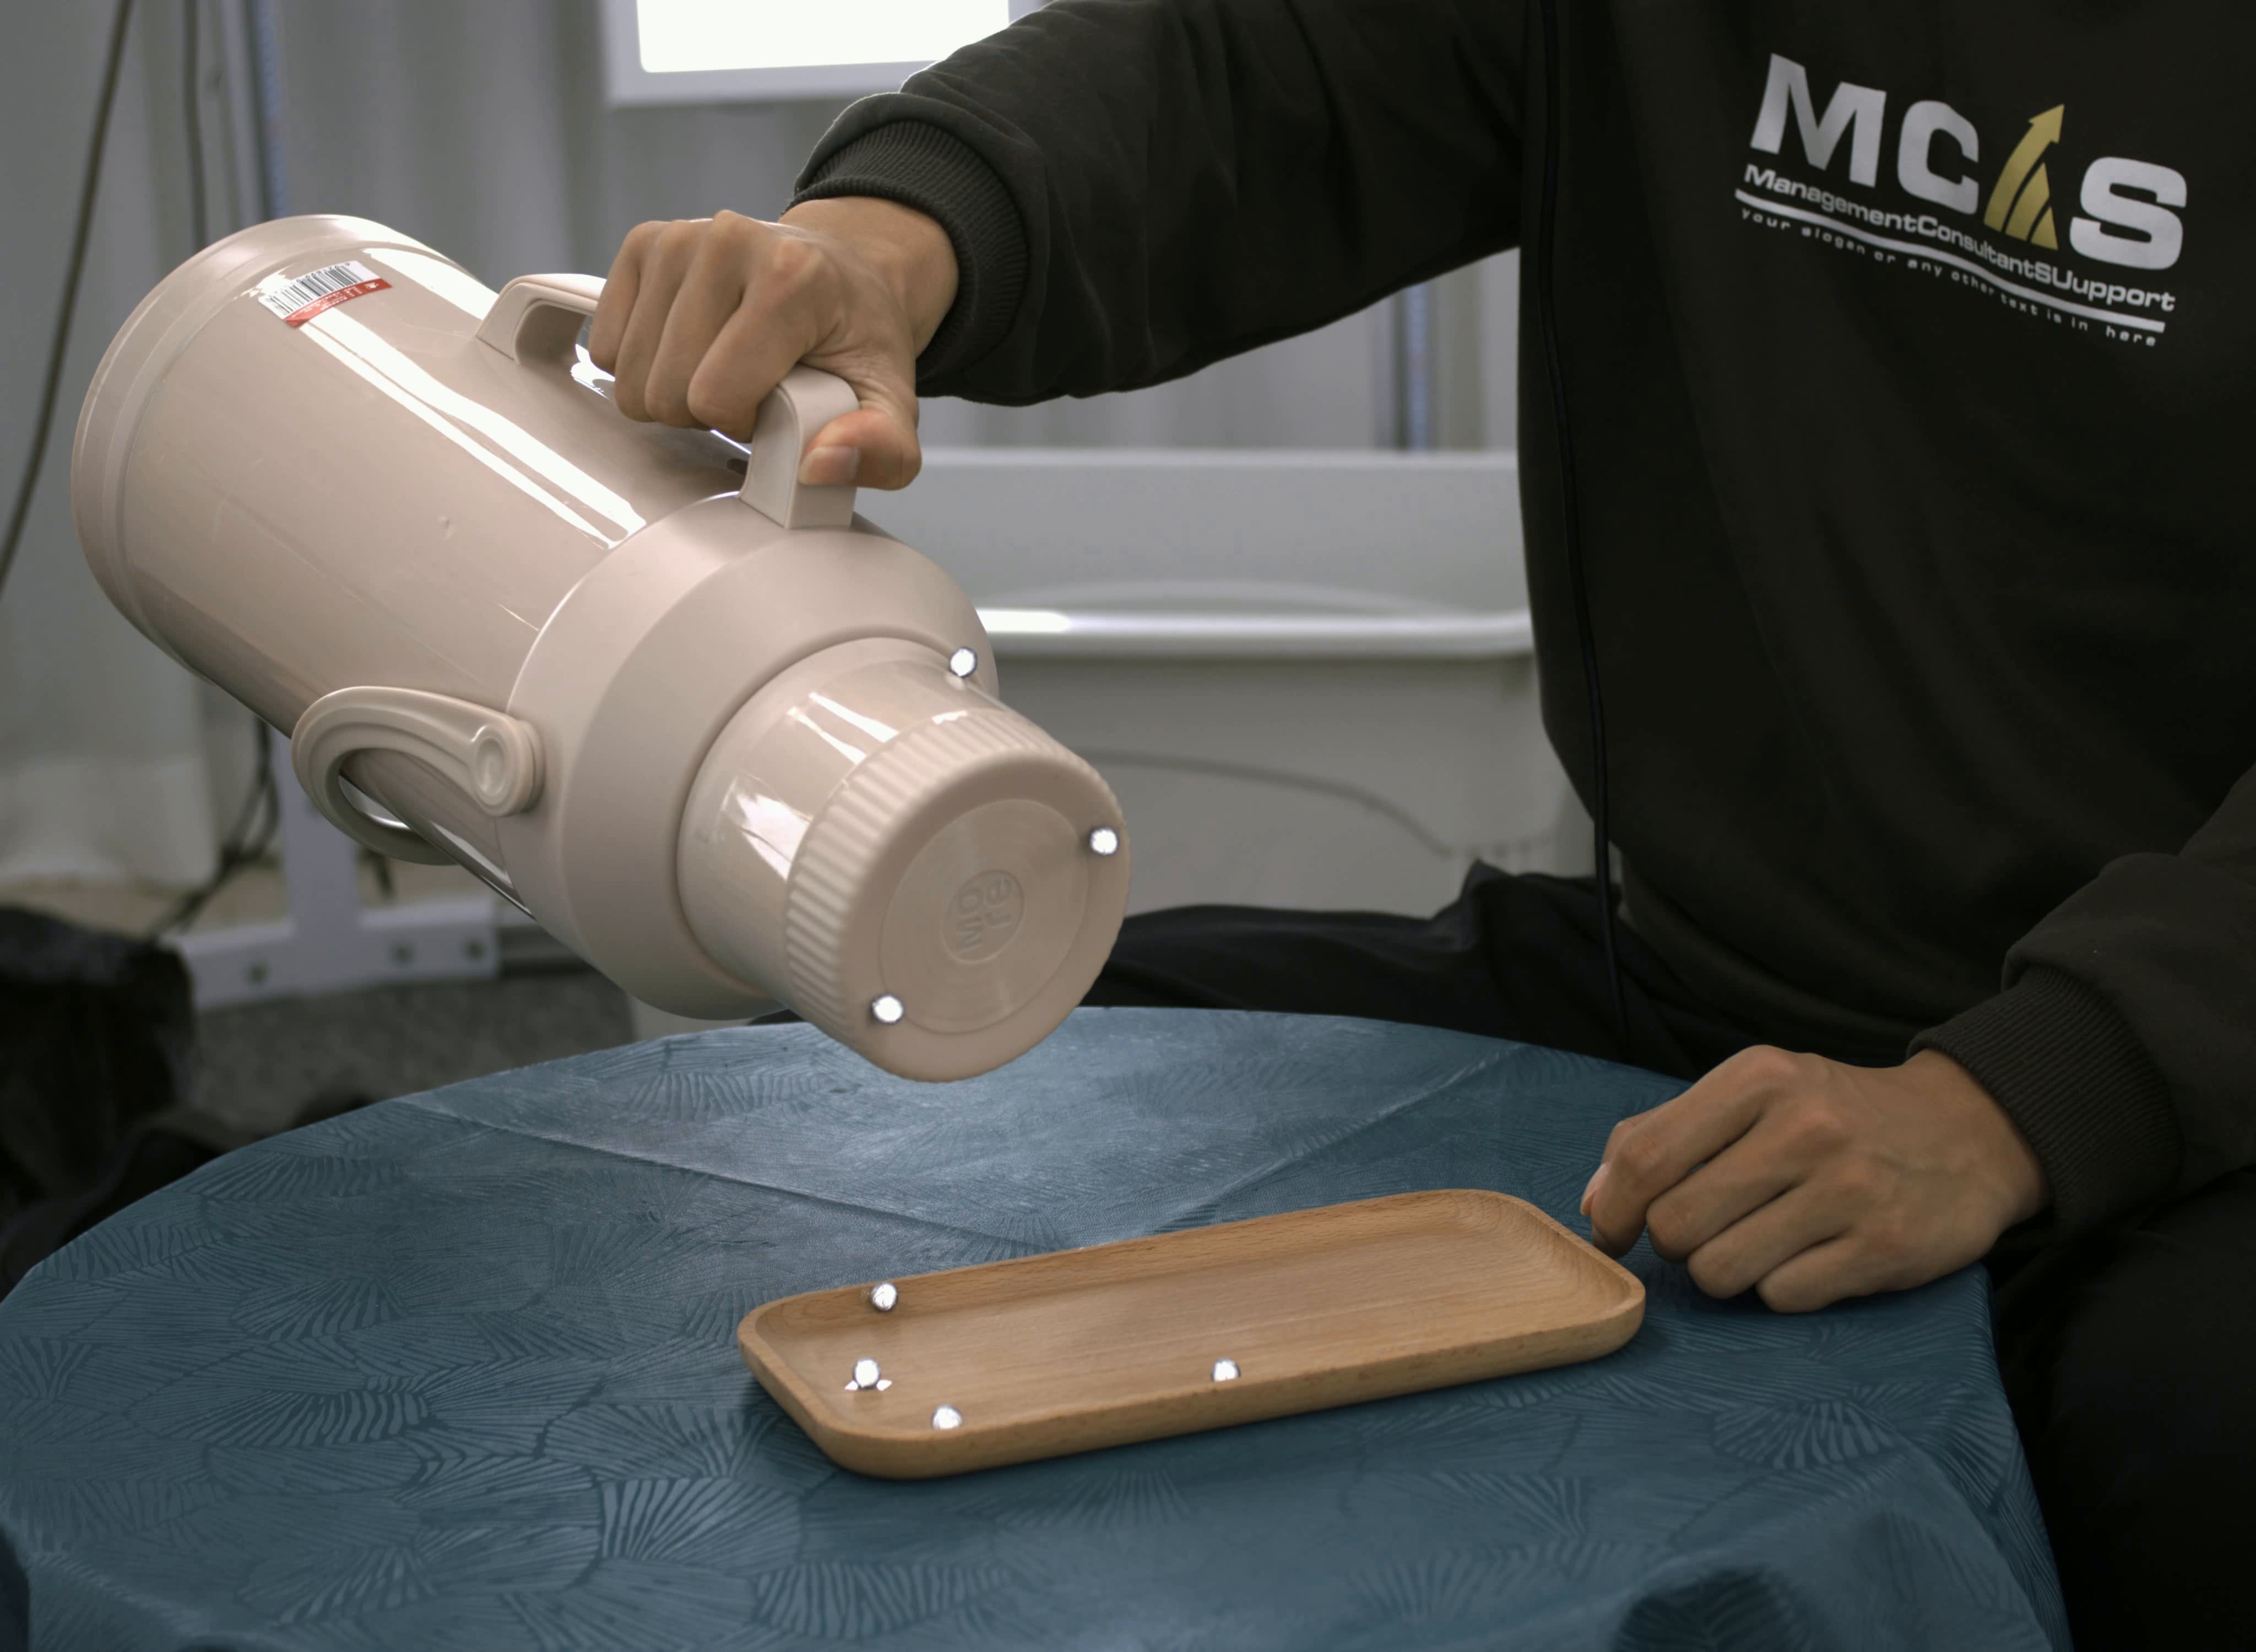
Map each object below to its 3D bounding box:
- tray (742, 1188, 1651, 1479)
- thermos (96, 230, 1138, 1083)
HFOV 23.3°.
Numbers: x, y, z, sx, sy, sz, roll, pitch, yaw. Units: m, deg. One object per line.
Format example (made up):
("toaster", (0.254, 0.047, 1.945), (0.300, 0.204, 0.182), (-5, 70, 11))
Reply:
("tray", (0.020, 0.145, 1.572), (0.249, 0.023, 0.132), (-7, 18, -18))
("thermos", (-0.153, -0.063, 1.680), (0.174, 0.206, 0.410), (-5, 25, -37))
